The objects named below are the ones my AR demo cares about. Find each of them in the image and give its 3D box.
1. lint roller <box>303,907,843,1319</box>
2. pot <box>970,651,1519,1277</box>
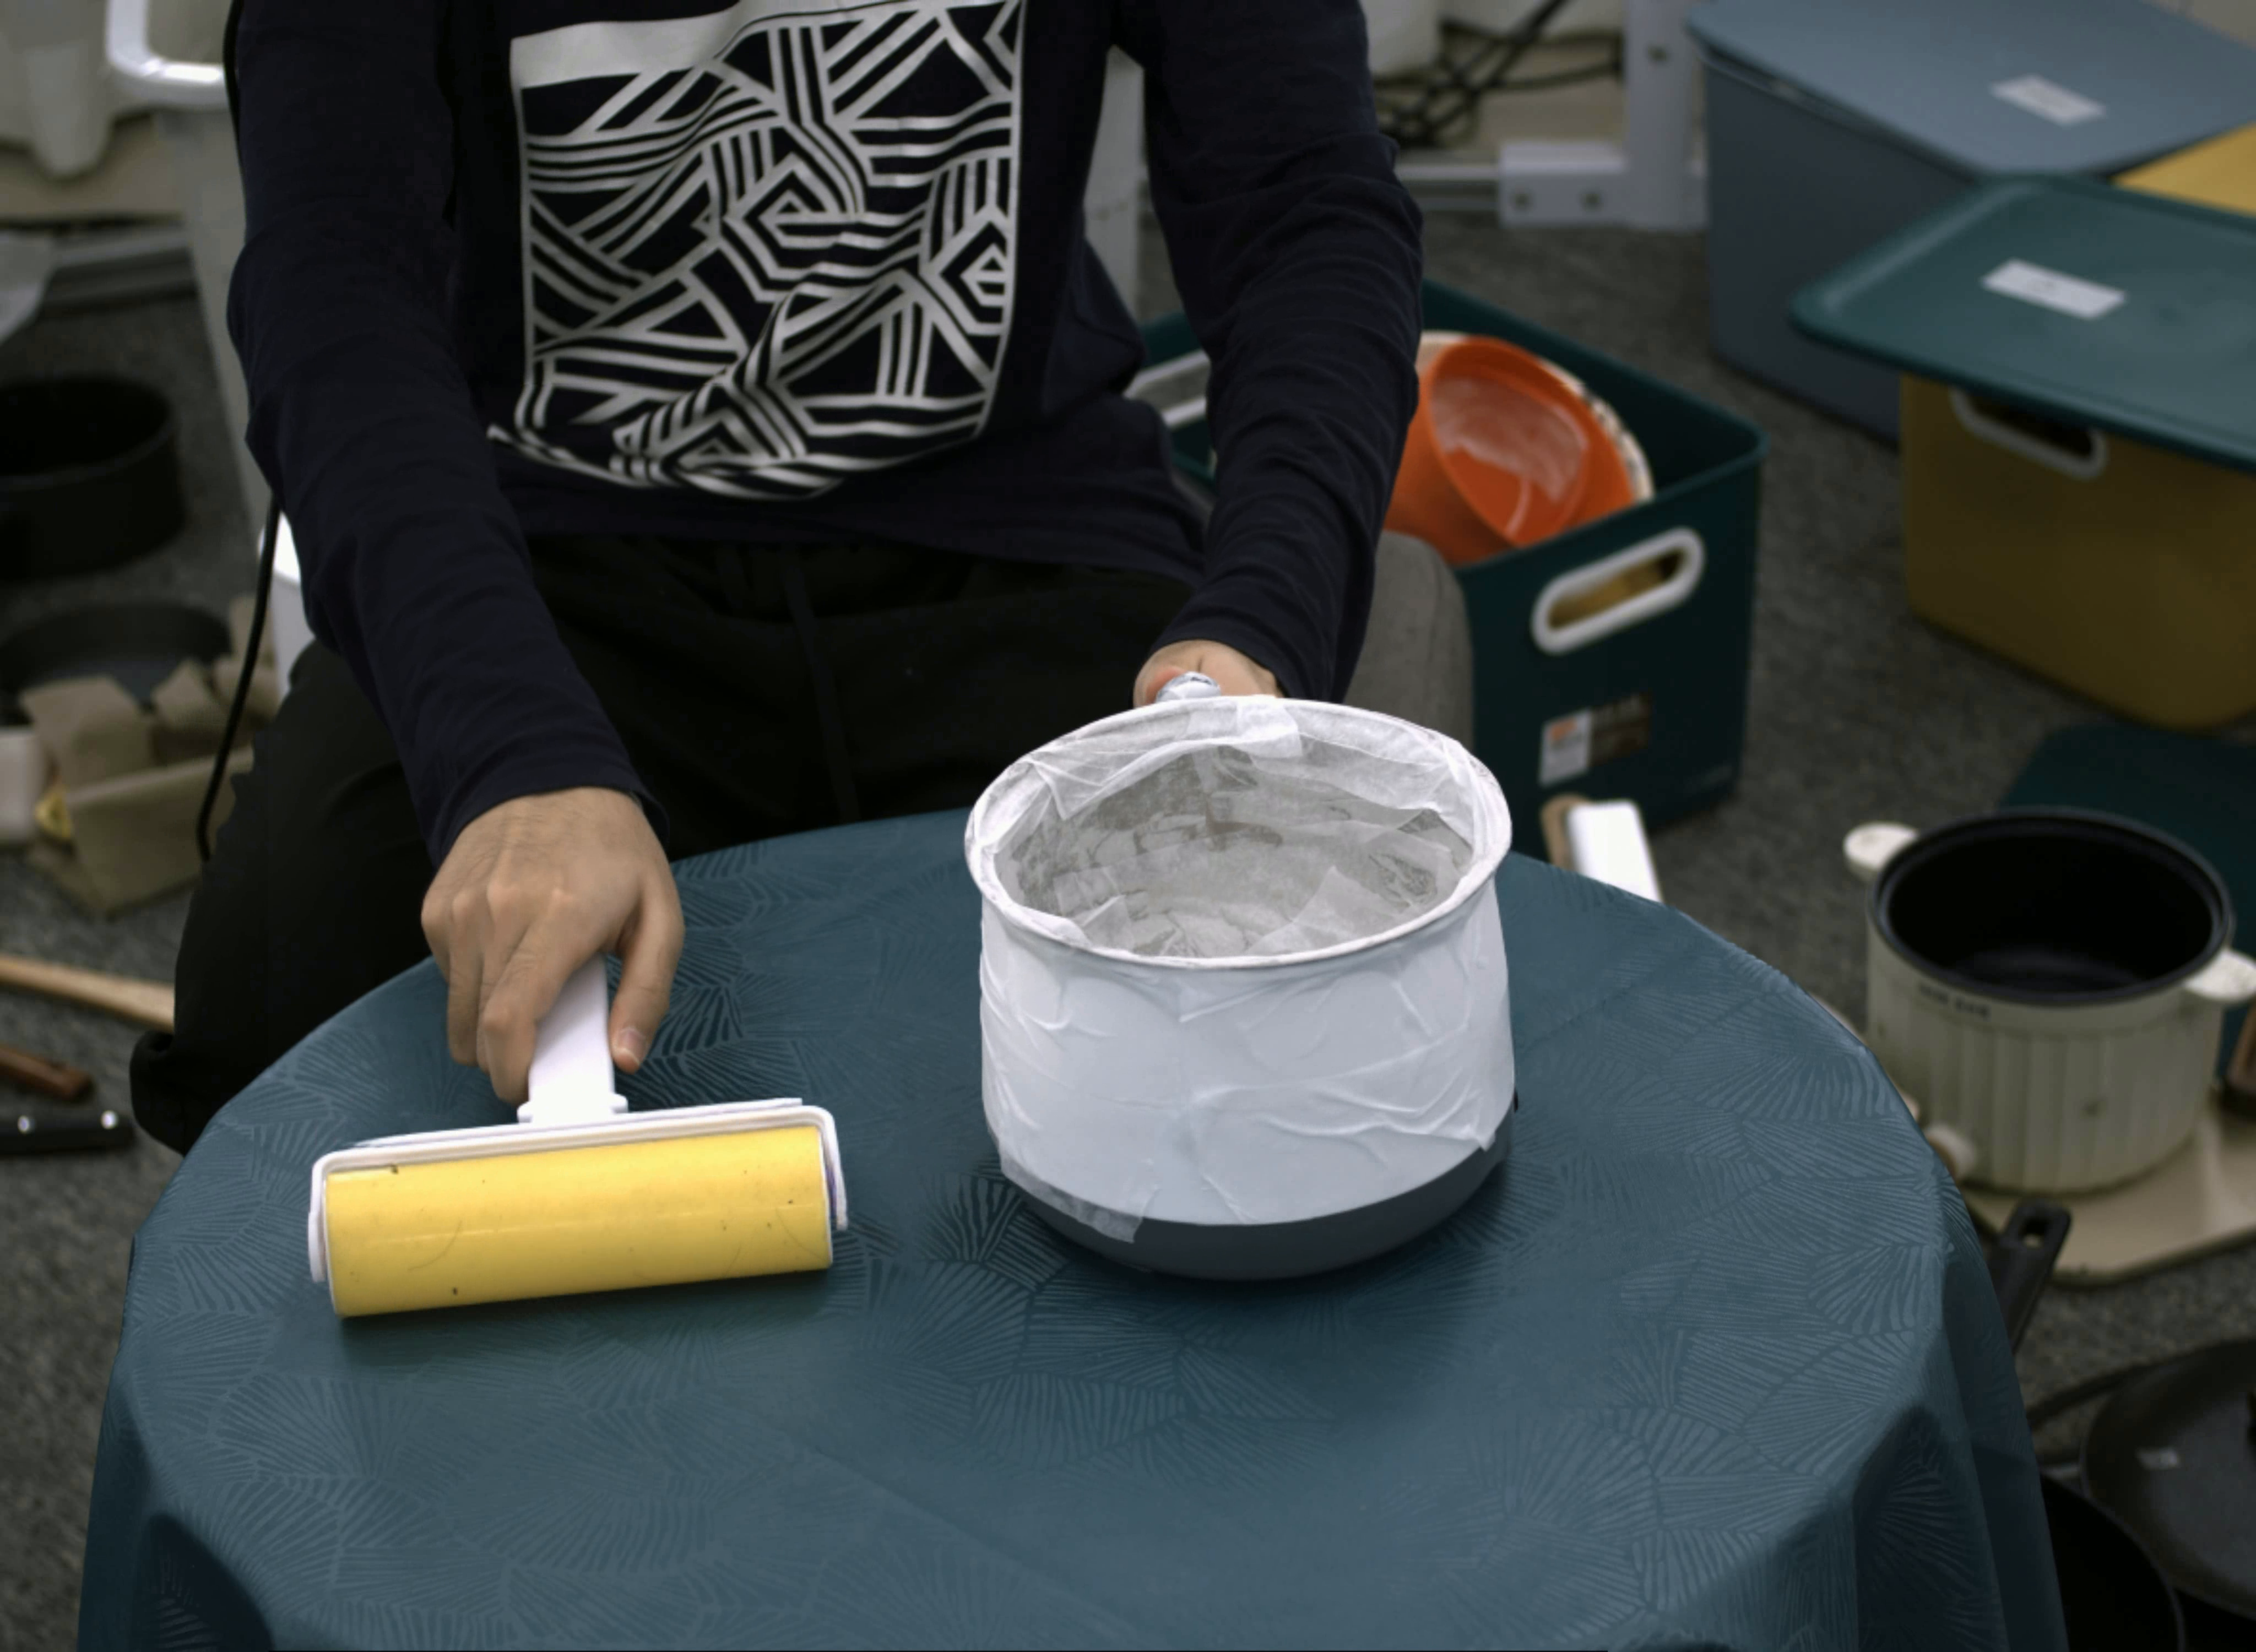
[{"bbox_3d":[-0.189,0.081,1.866,0.174,0.050,0.195,-6,43,-7],"label":"lint roller"},{"bbox_3d":[0.033,0.037,1.860,0.178,0.135,0.237,-5,31,-8],"label":"pot"}]
